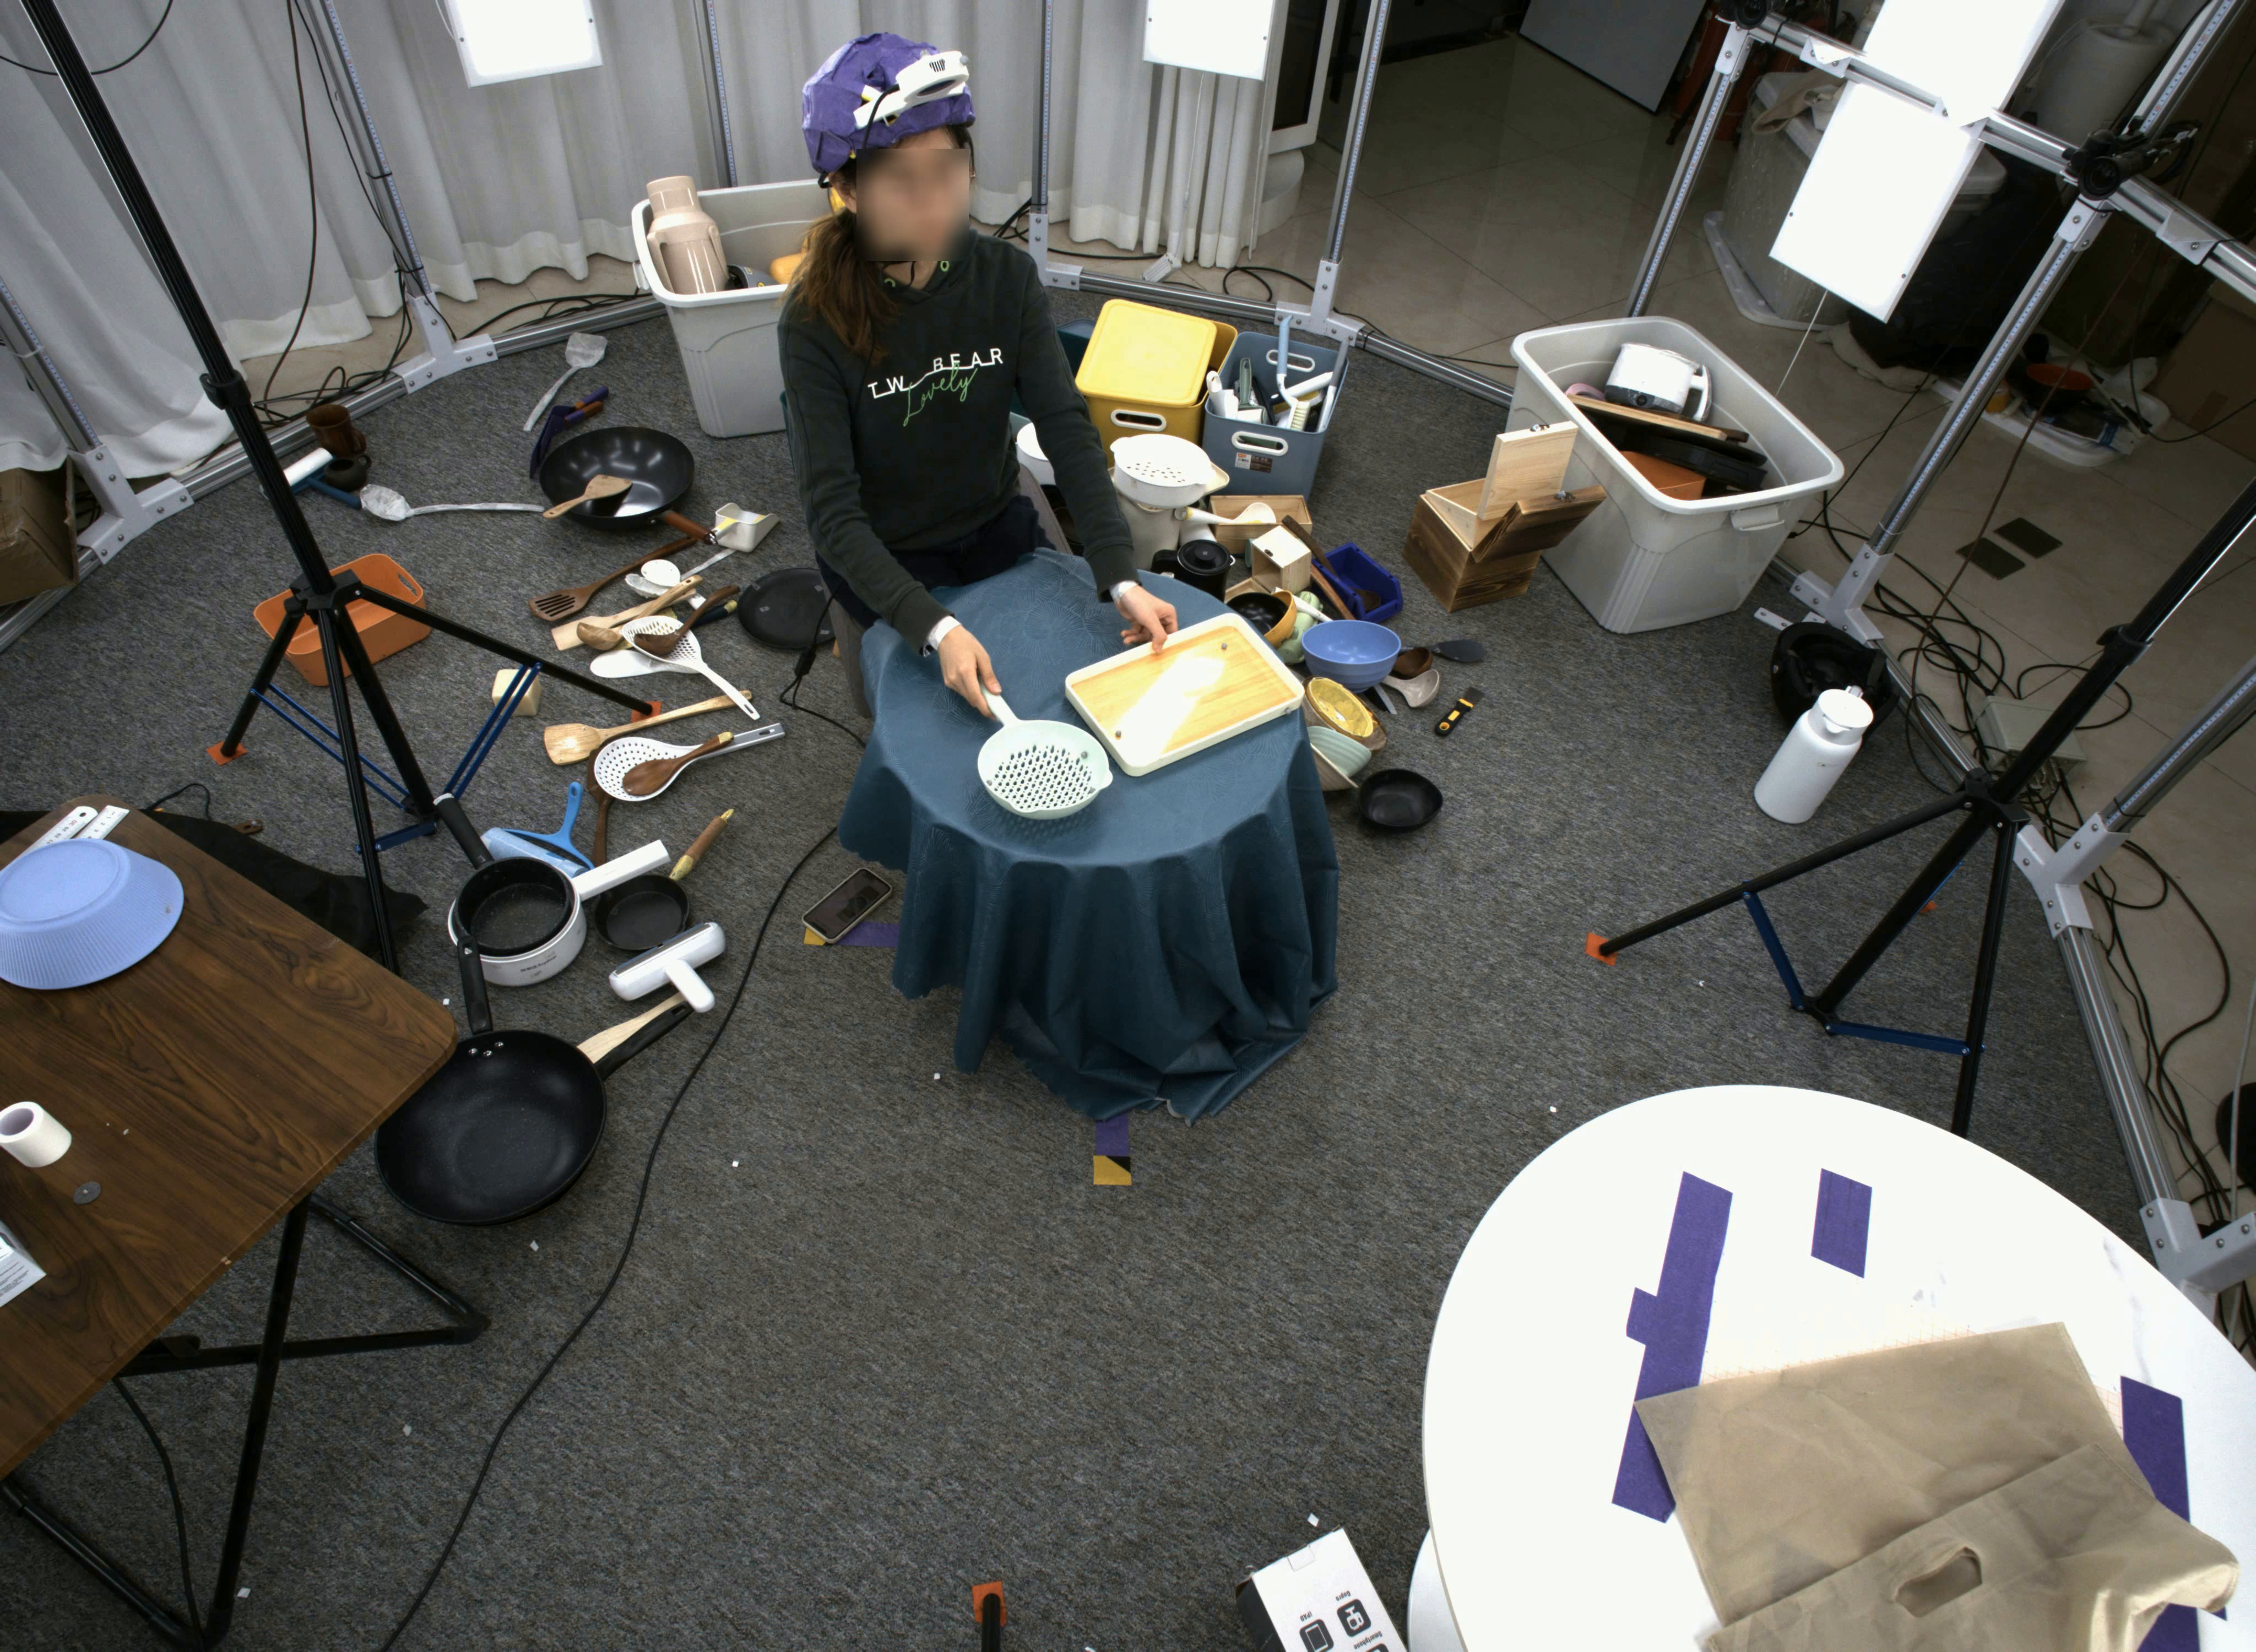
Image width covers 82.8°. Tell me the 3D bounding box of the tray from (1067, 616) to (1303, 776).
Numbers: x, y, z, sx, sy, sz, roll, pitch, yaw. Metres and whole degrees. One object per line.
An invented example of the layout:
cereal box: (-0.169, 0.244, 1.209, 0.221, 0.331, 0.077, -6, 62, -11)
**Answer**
tray: (0.082, -0.191, 1.832, 0.301, 0.027, 0.195, -23, 57, -23)

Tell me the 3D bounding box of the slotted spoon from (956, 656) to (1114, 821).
slotted spoon: (-0.156, -0.134, 1.742, 0.169, 0.073, 0.366, -18, 56, -22)
